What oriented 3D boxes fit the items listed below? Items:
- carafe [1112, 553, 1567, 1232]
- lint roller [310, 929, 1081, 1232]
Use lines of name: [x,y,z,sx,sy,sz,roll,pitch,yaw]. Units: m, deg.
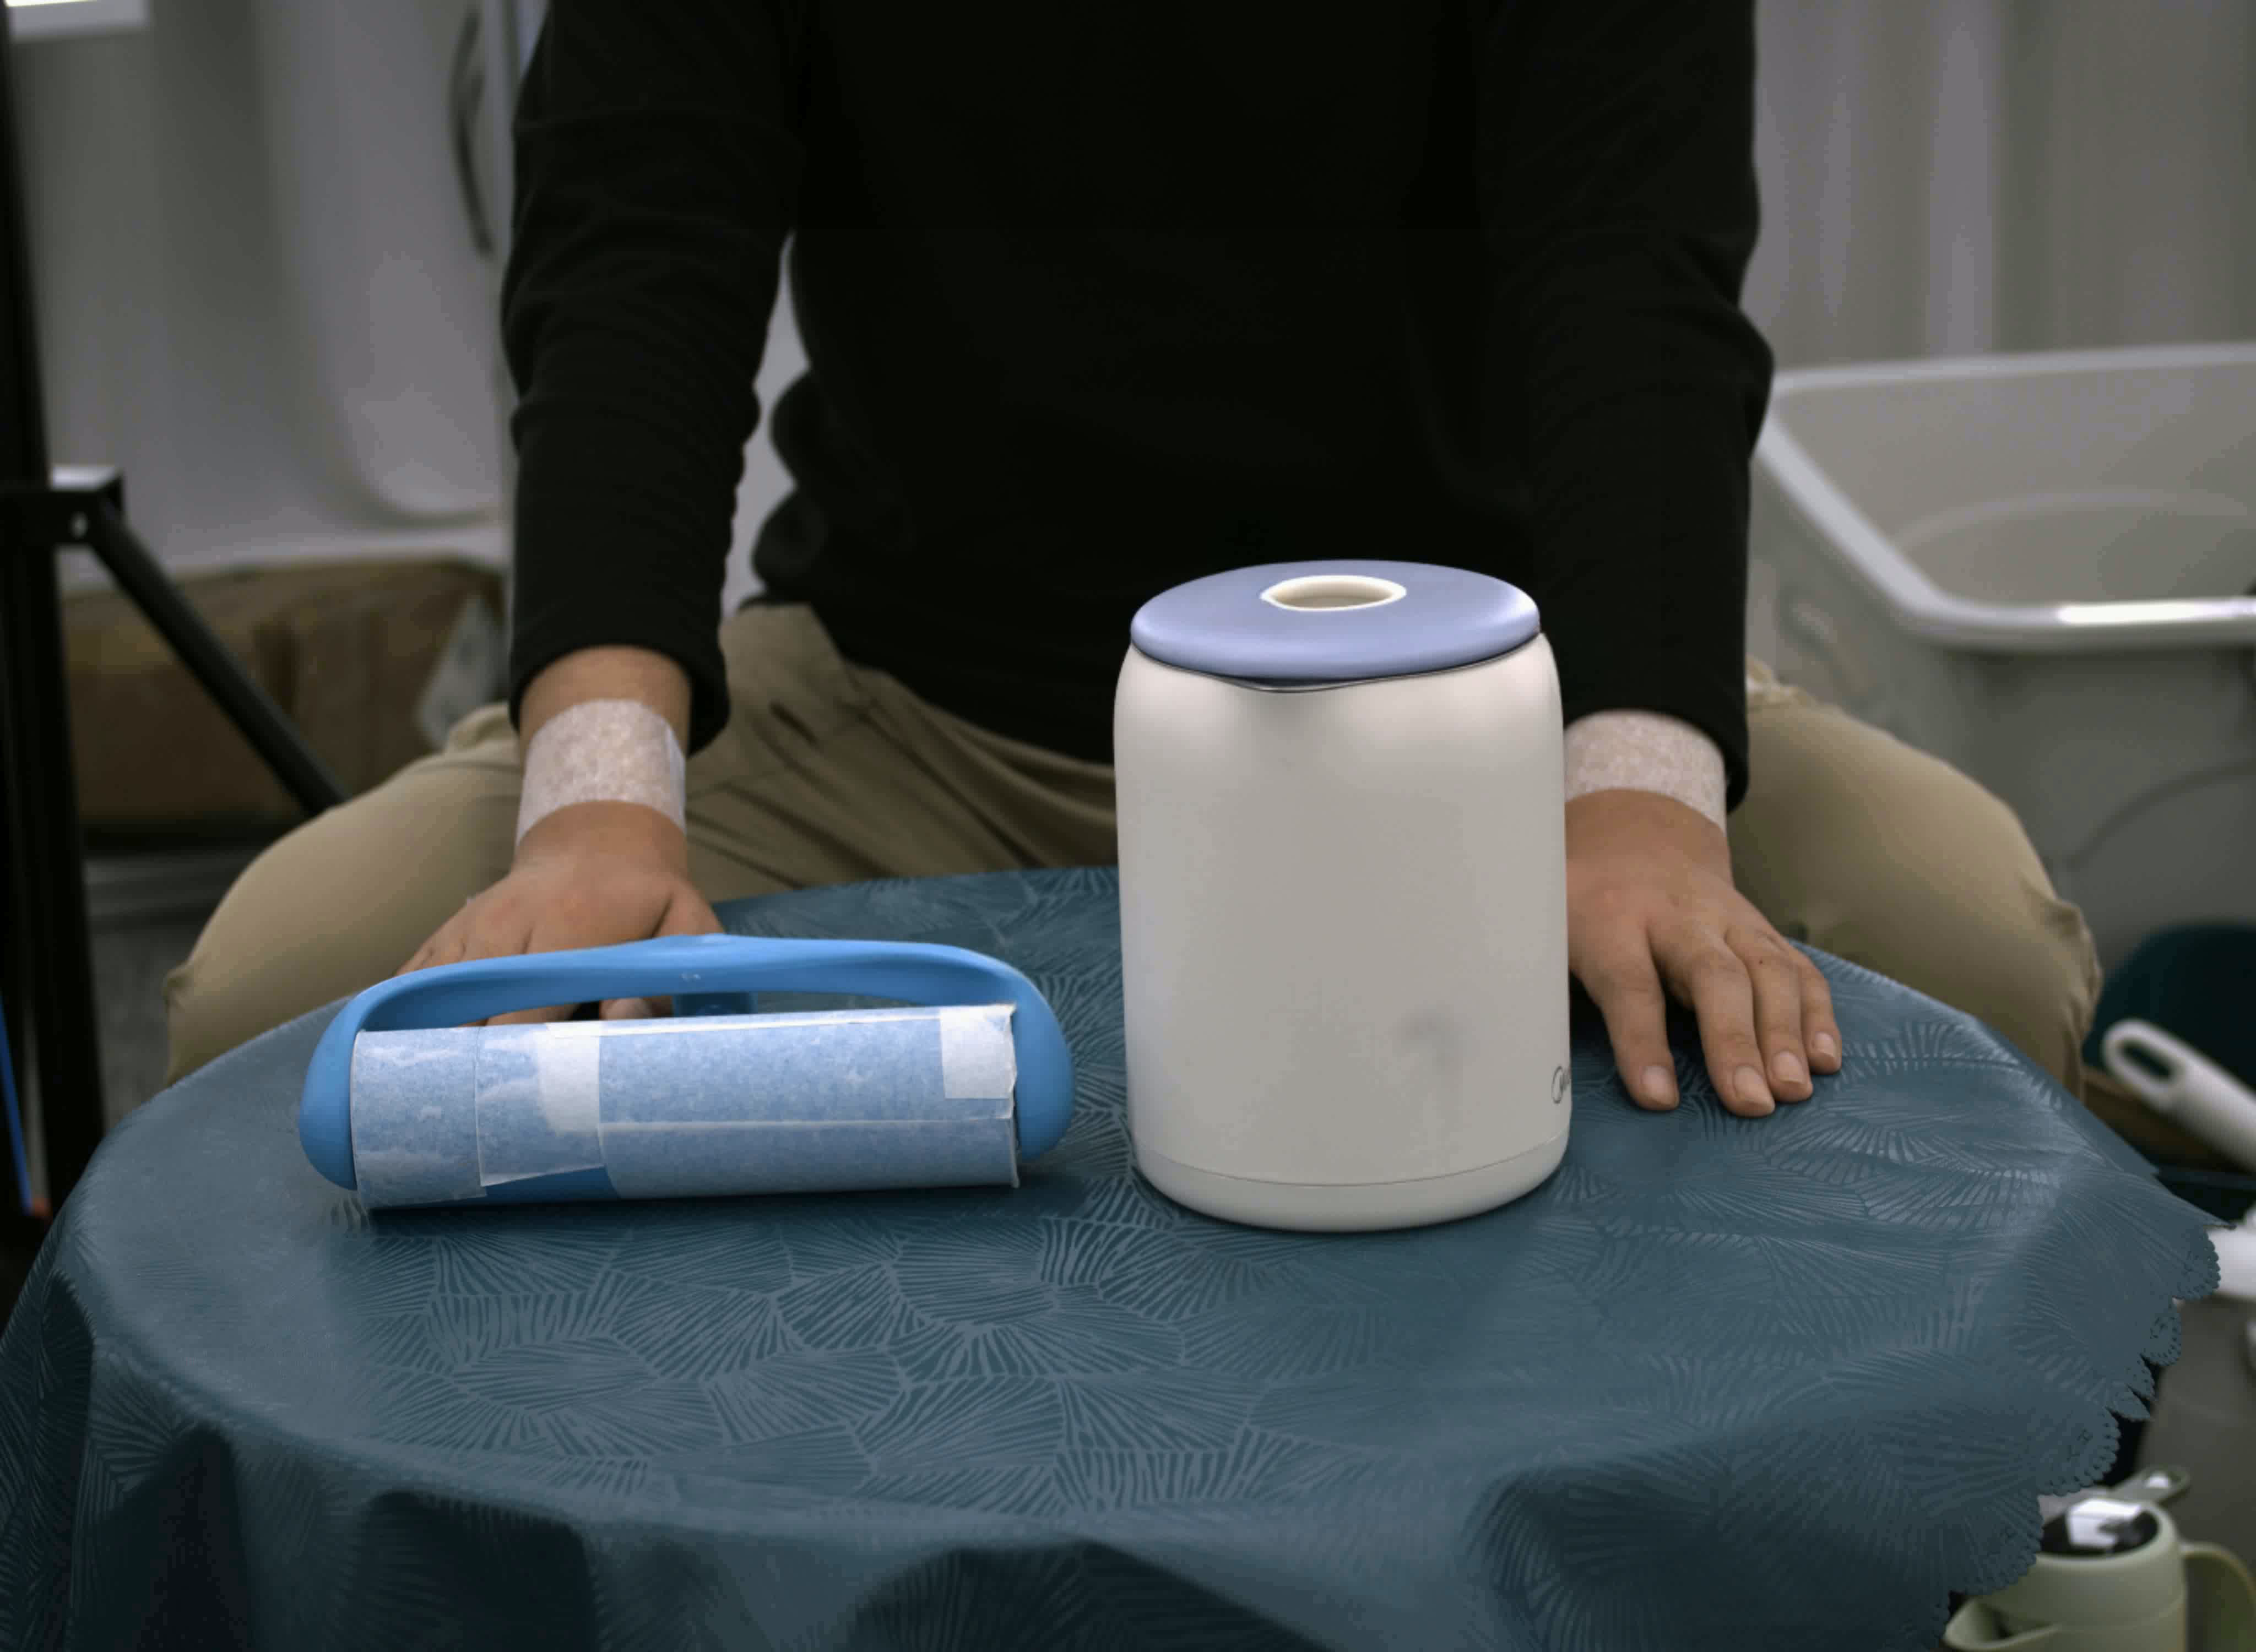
carafe: [0.068,0.012,1.570,0.133,0.182,0.189,2,14,14]
lint roller: [-0.131,0.063,1.627,0.228,0.068,0.181,-6,22,0]
